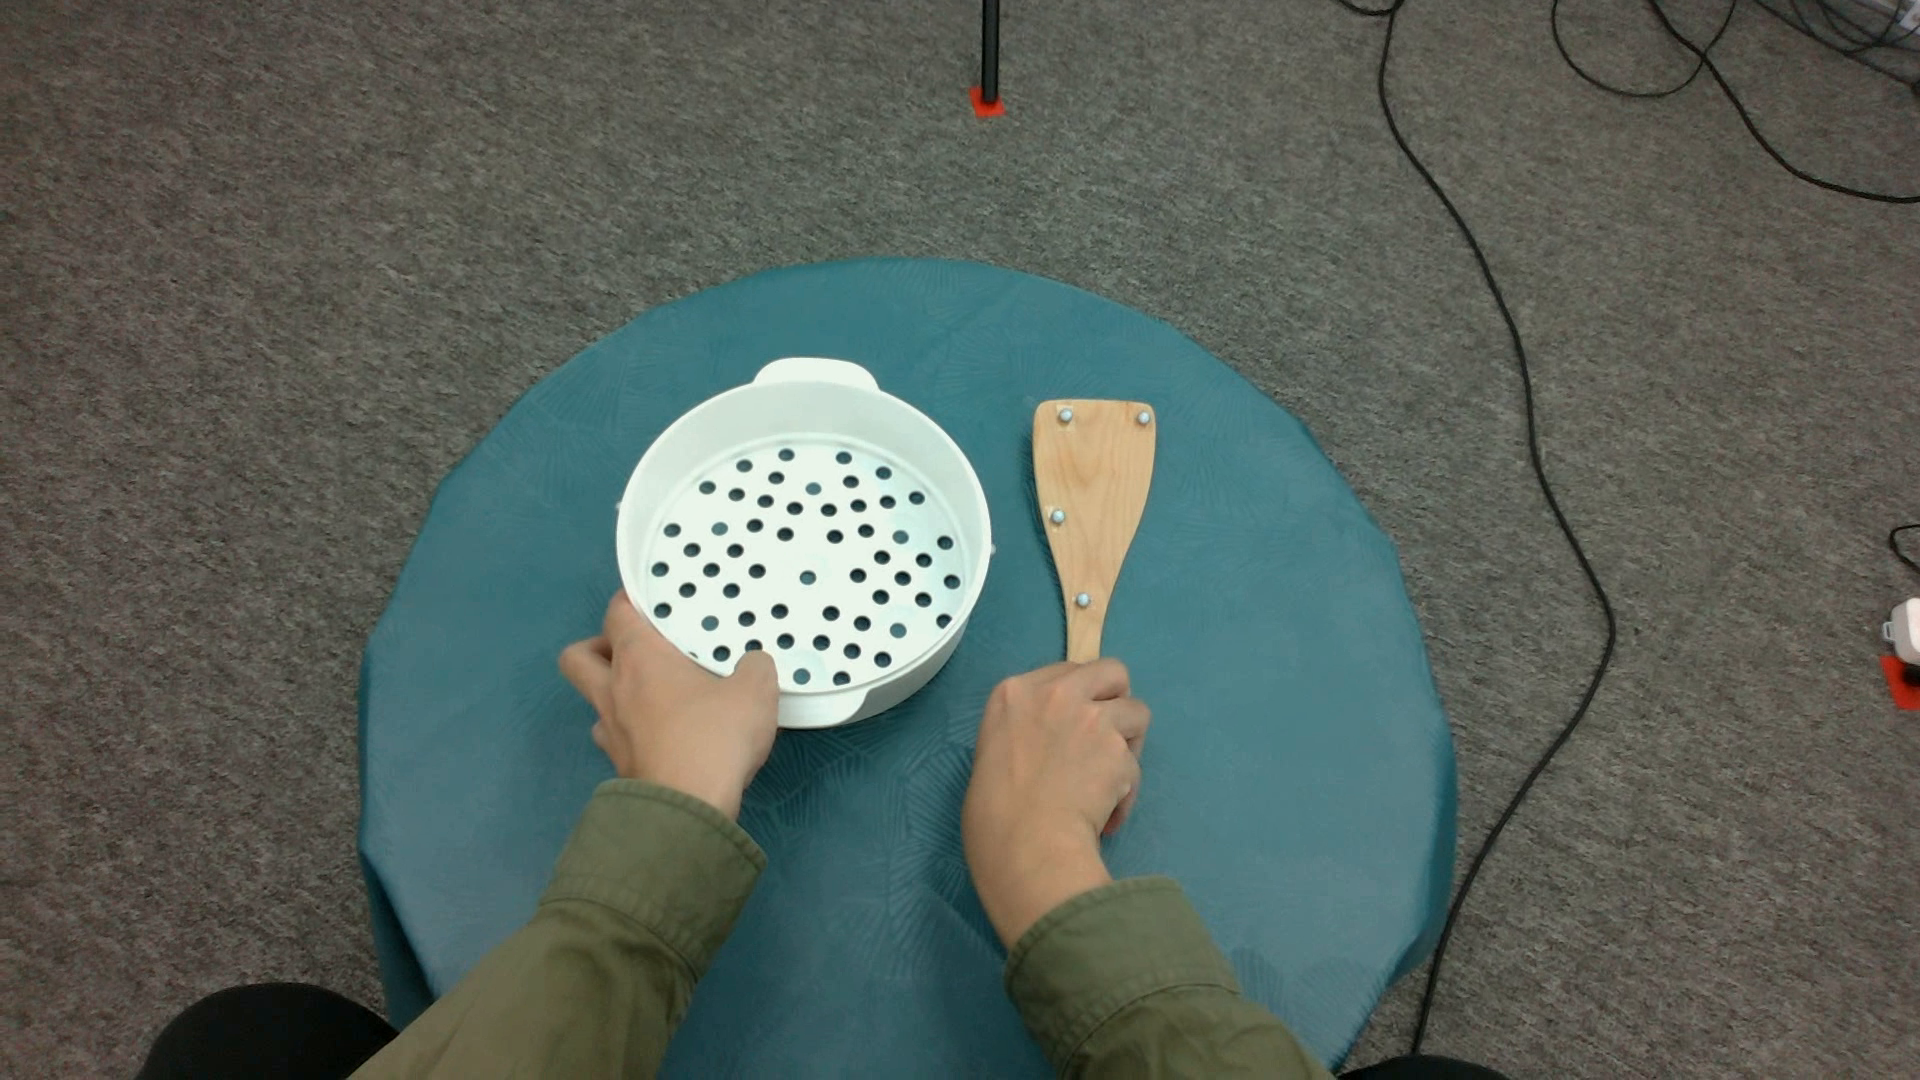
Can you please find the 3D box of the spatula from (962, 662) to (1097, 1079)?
[{"bbox_3d":[0.050,0.205,0.780,0.080,0.016,0.329,3,48,-10],"label":"spatula"}]

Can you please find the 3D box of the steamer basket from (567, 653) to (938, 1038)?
[{"bbox_3d":[-0.113,0.174,0.774,0.202,0.069,0.231,-6,50,-6],"label":"steamer basket"}]
